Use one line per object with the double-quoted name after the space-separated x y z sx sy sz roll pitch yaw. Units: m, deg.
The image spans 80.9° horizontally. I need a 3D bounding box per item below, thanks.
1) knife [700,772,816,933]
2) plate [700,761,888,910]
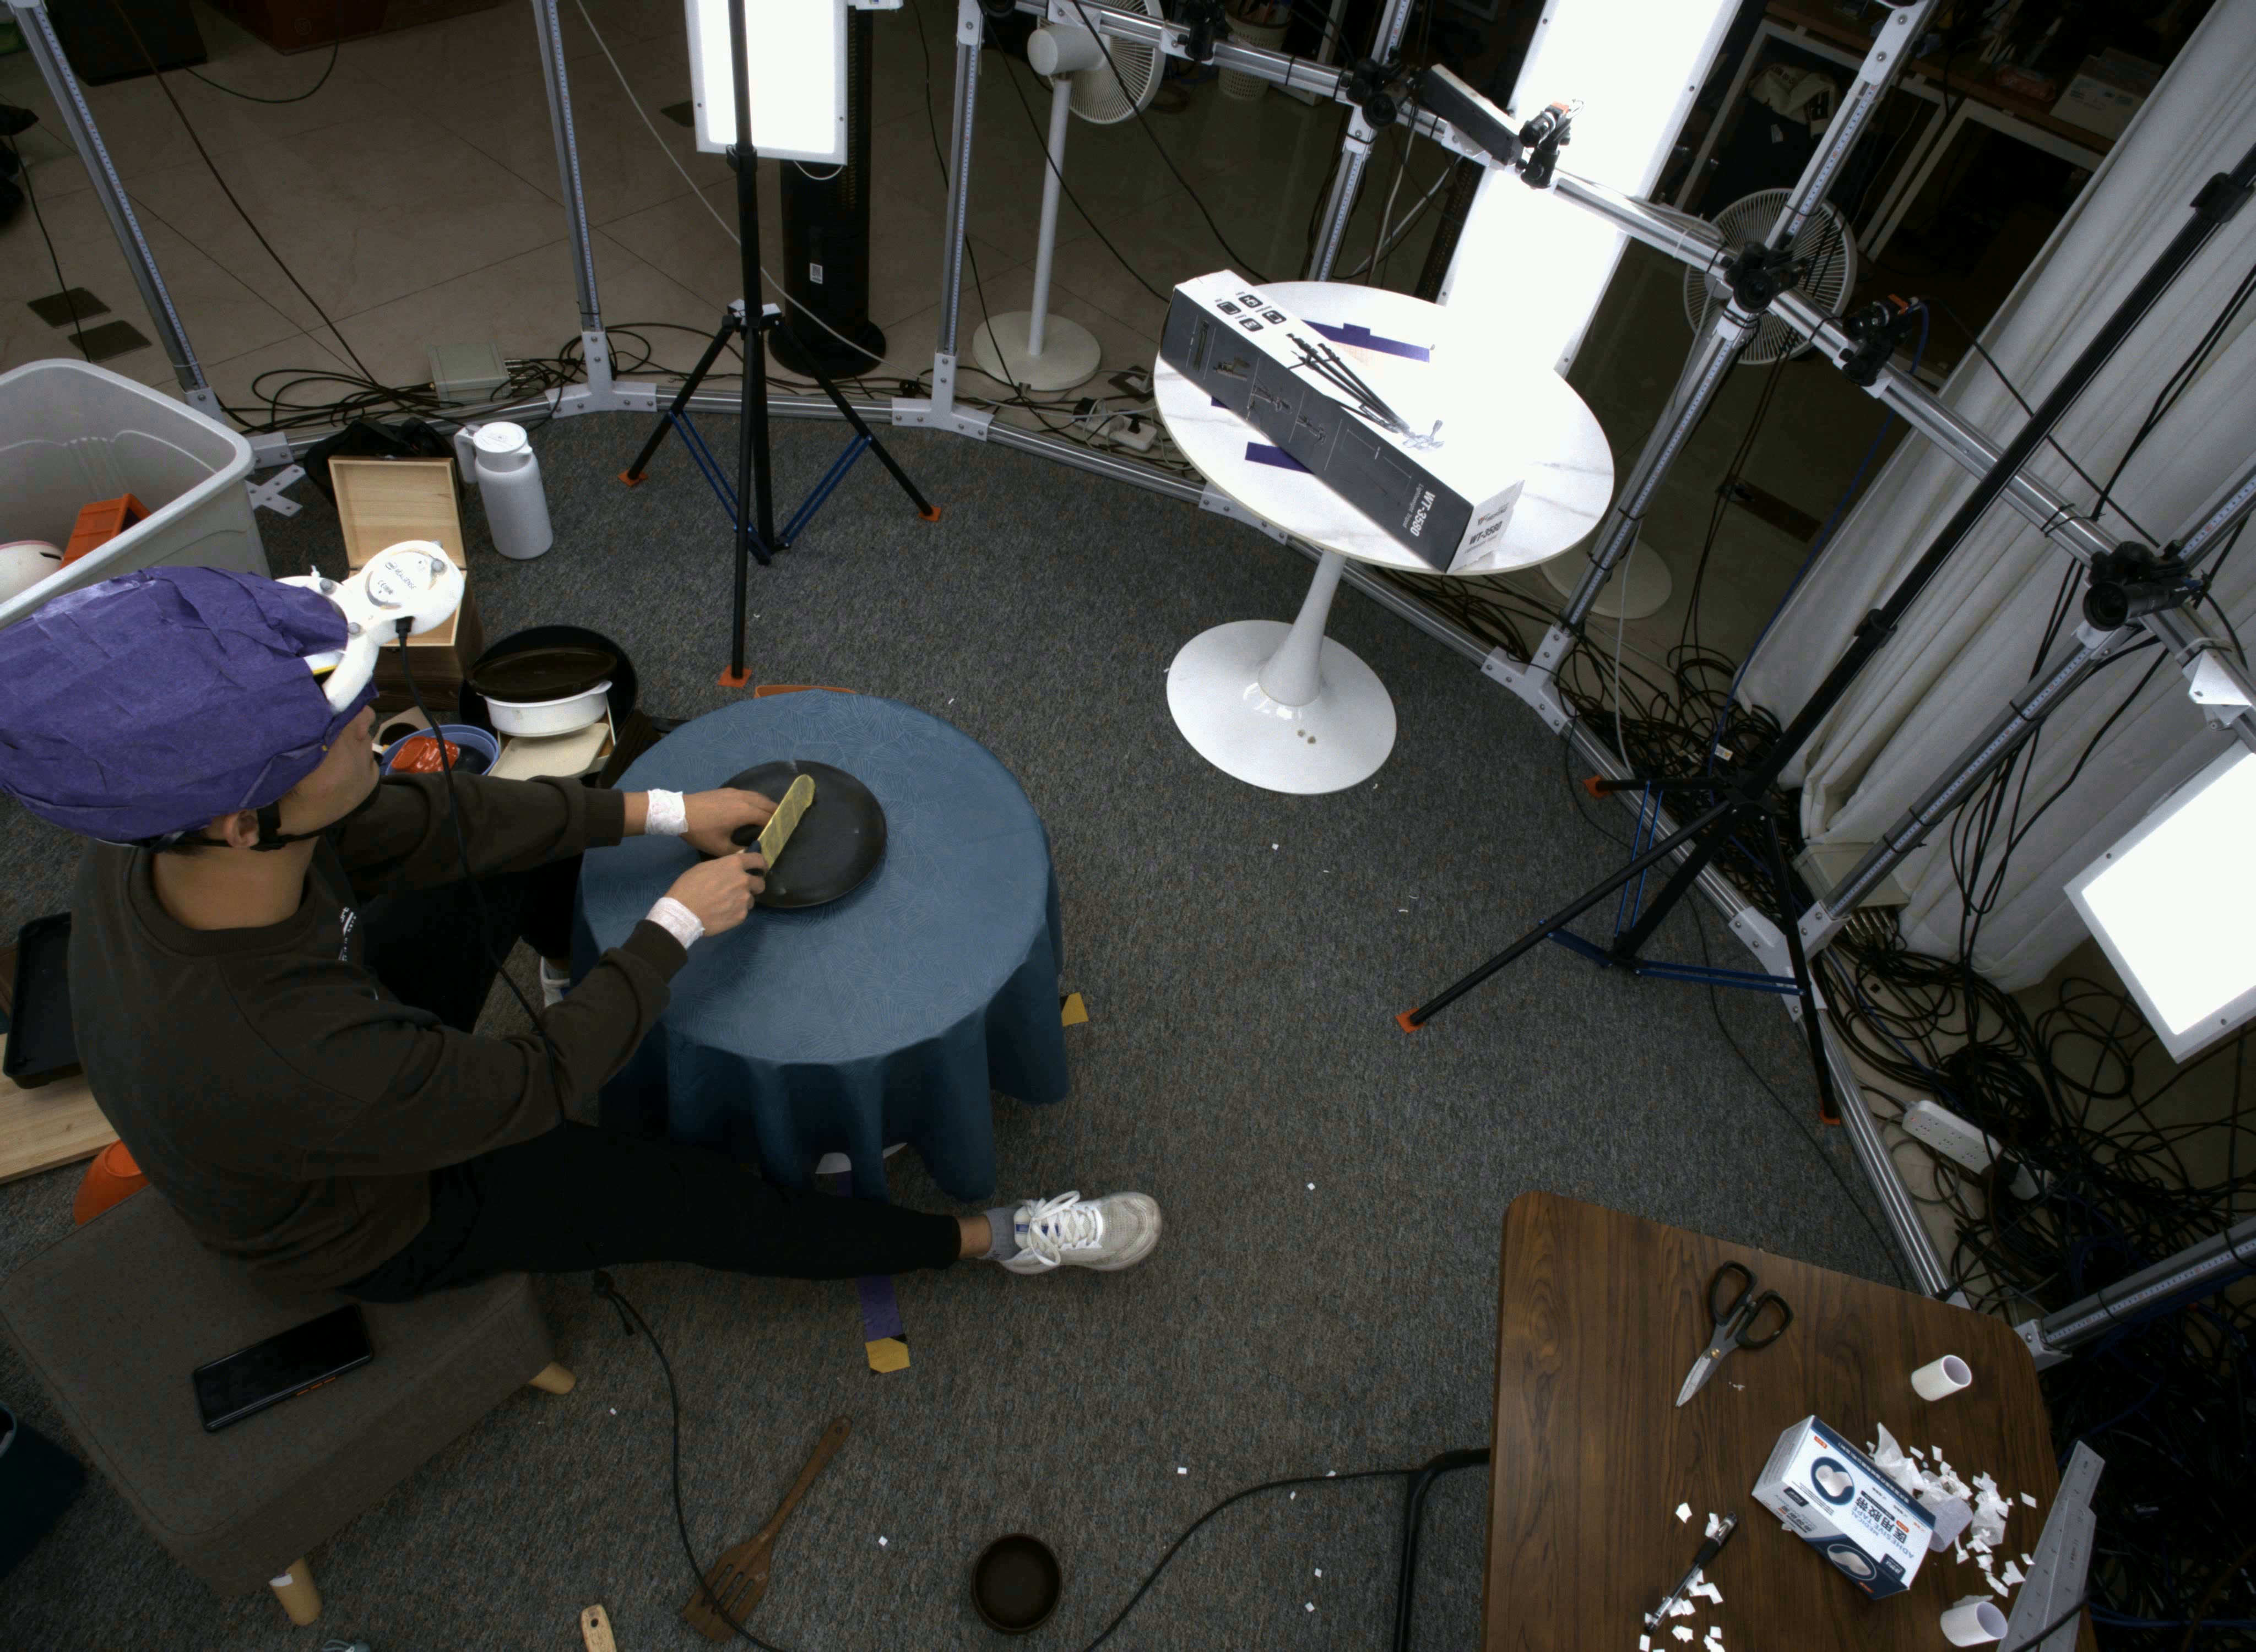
-0.461 0.032 1.639 0.027 0.083 0.286 15 47 10 "knife"
-0.438 0.012 1.707 0.244 0.024 0.240 8 52 -9 "plate"
